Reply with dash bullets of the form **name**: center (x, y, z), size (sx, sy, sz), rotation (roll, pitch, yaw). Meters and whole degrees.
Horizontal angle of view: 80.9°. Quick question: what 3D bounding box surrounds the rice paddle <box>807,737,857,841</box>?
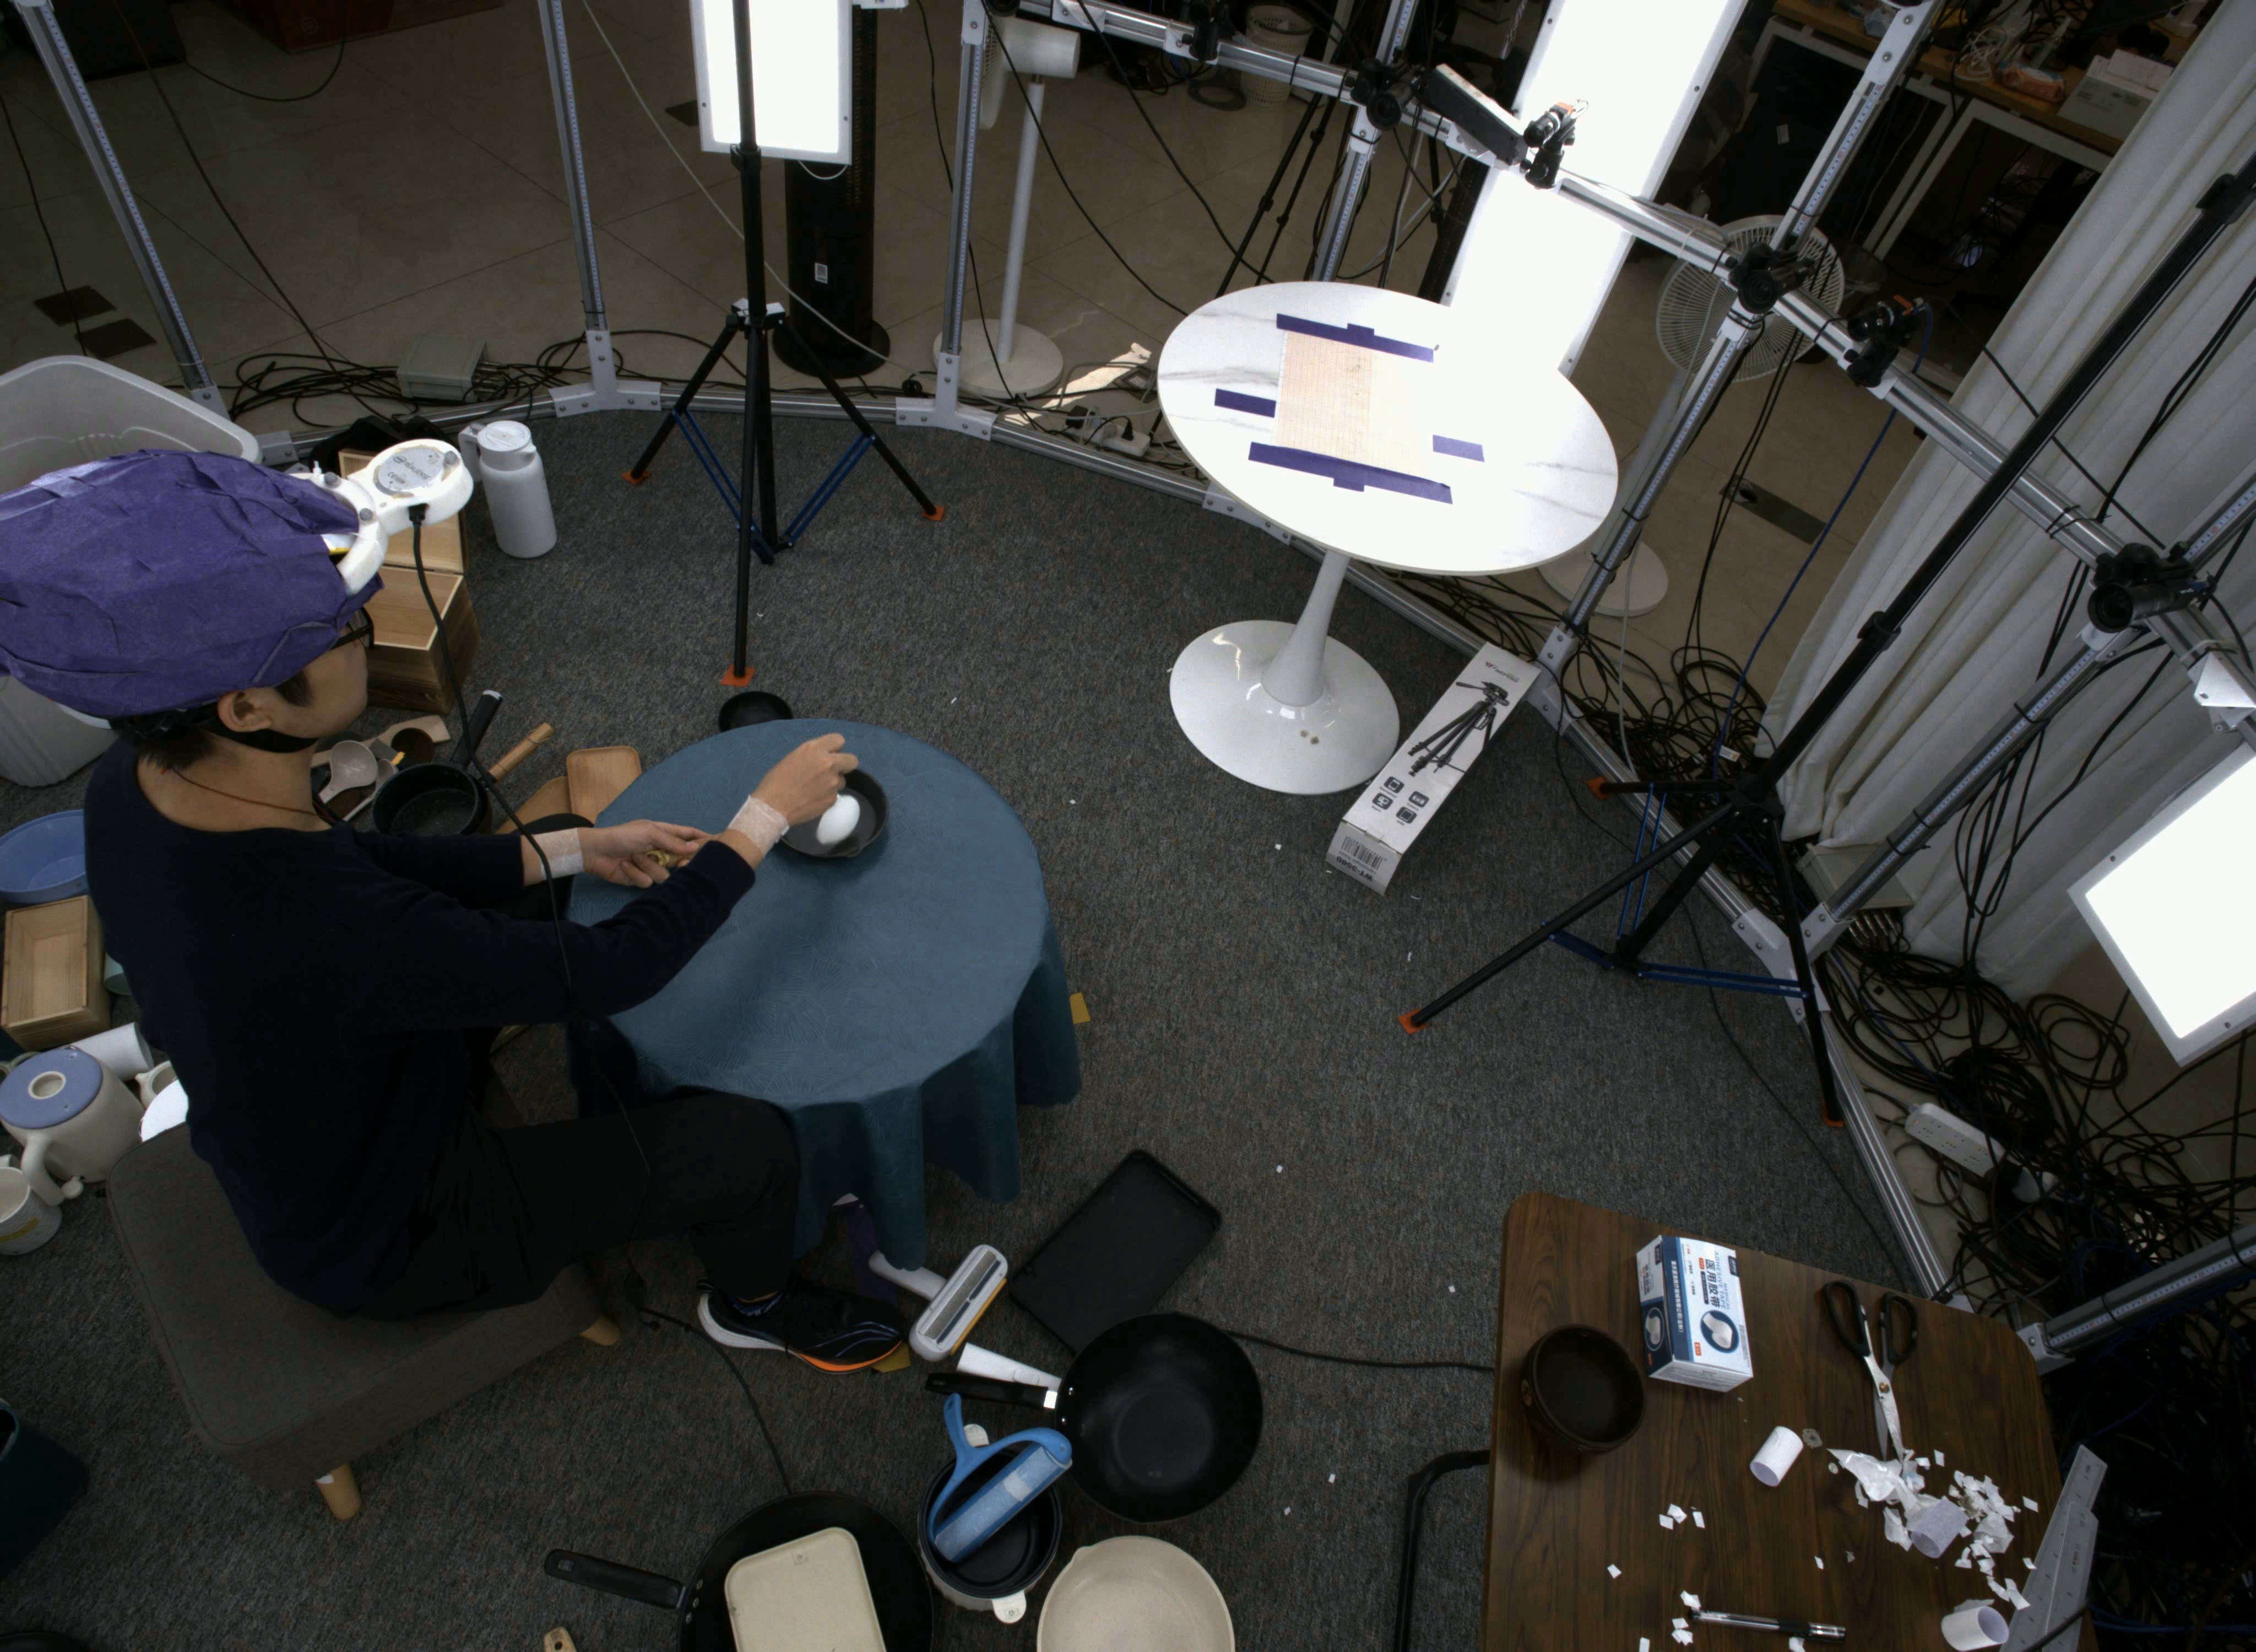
- **rice paddle**: center (-0.371, -0.042, 1.614), size (0.029, 0.209, 0.069), rotation (41, 66, 16)

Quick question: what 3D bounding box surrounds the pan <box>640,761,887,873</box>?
- **pan**: center (-0.468, 0.005, 1.667), size (0.326, 0.050, 0.165), rotation (-18, 60, -27)
